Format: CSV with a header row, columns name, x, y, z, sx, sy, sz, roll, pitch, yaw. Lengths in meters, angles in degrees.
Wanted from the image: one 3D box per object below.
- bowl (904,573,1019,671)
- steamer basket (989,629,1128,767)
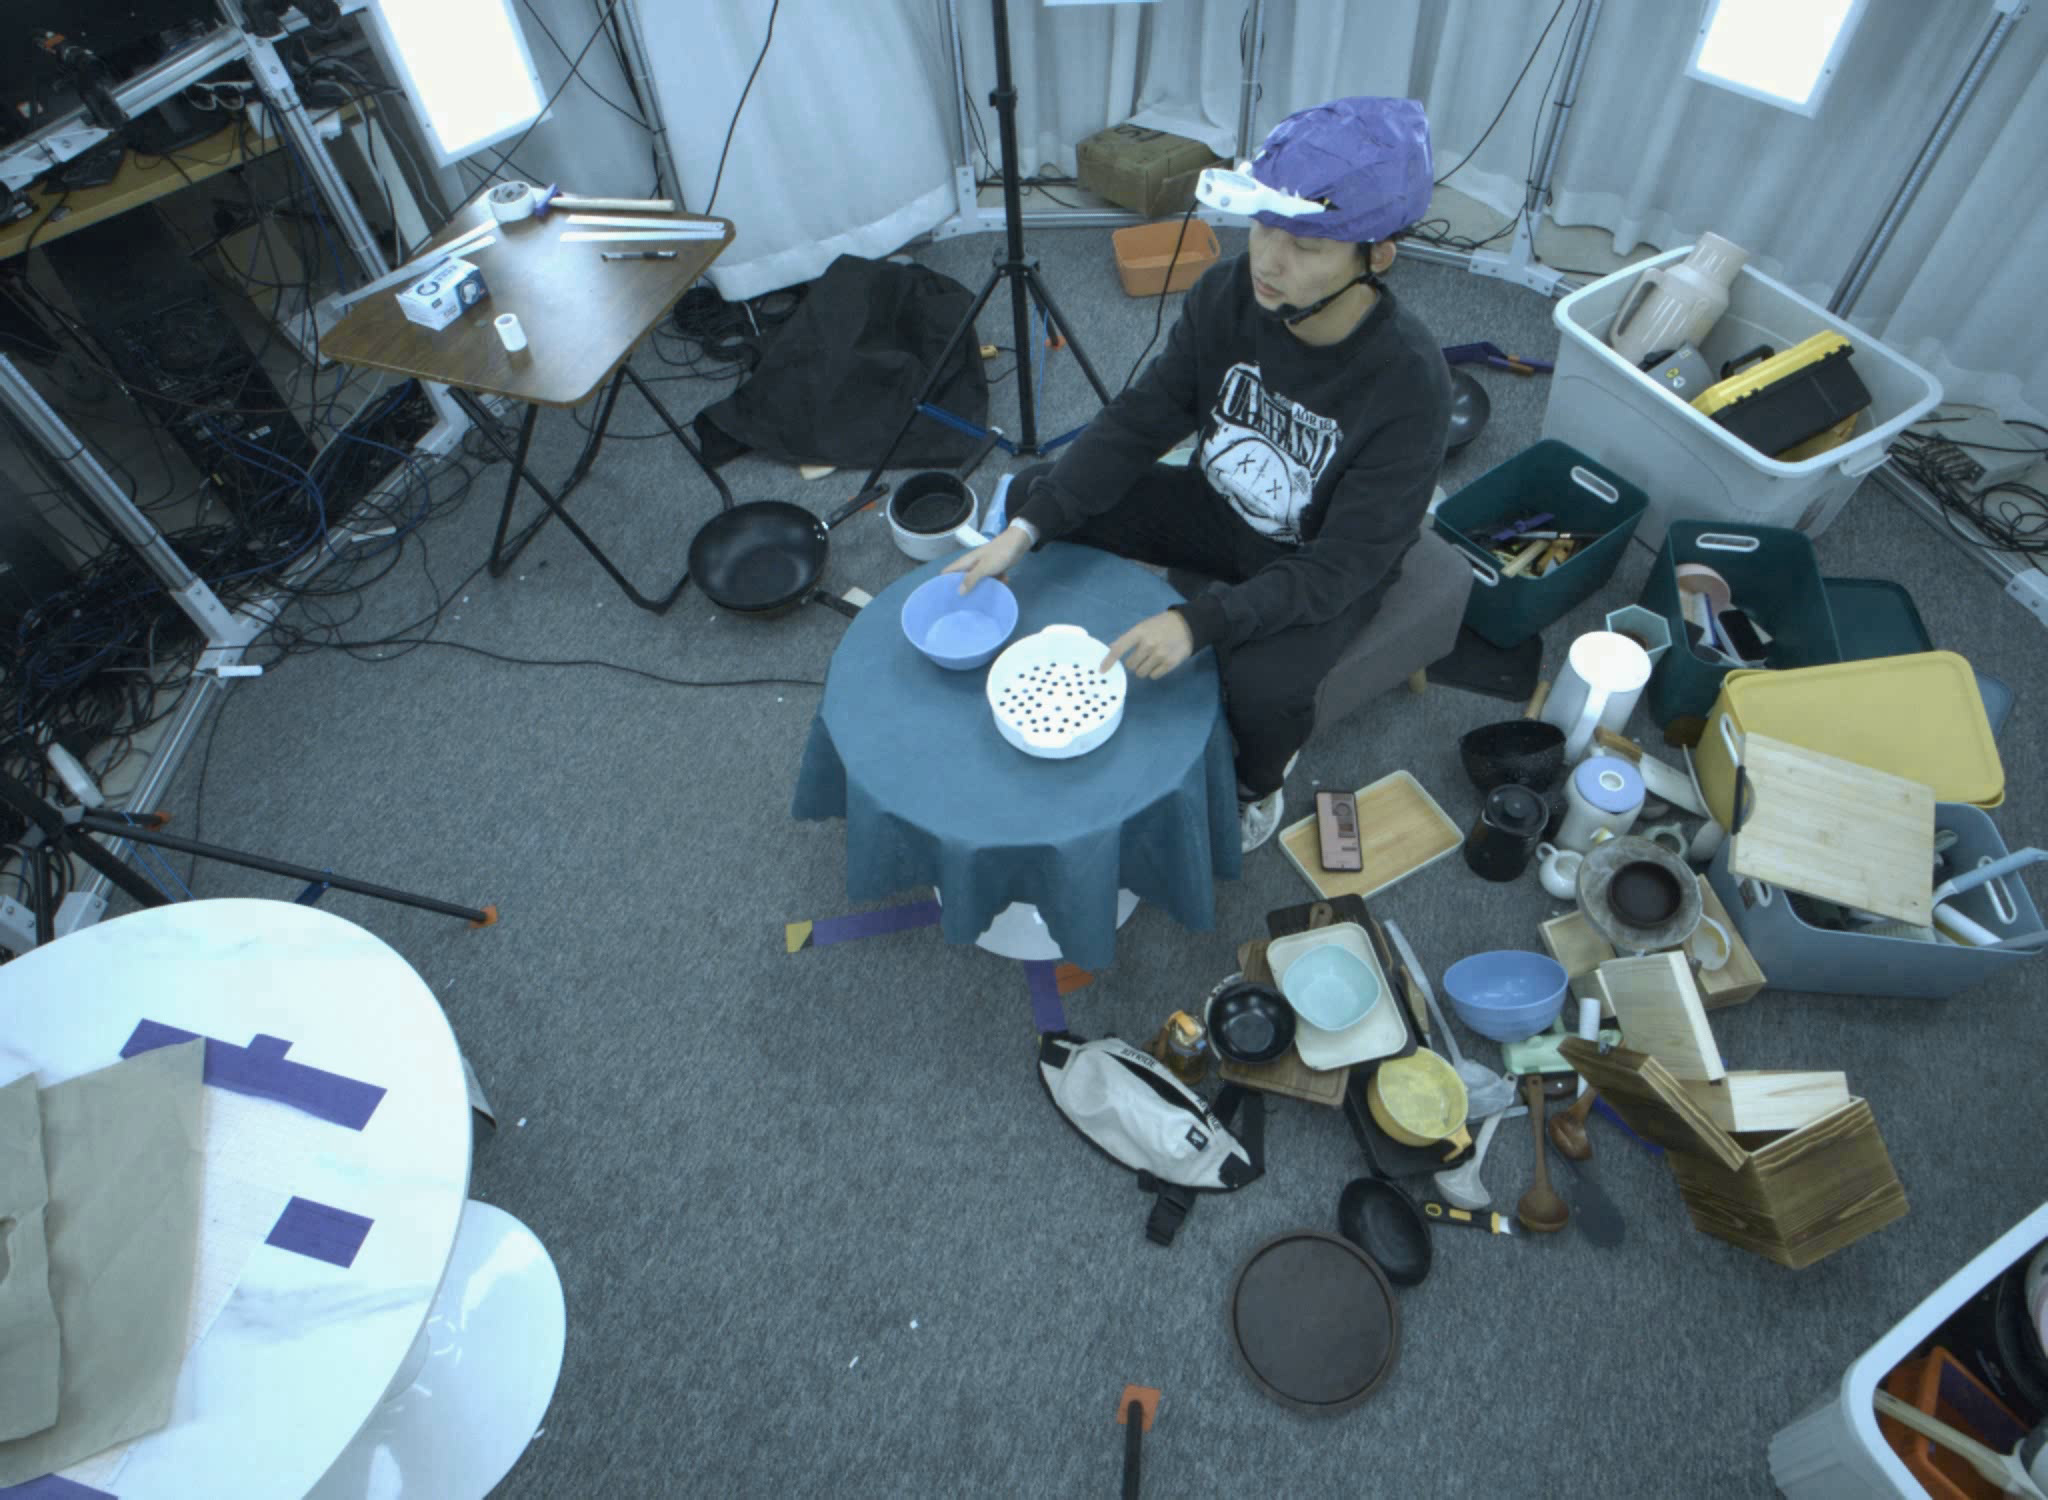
name,x,y,z,sx,sy,sz,roll,pitch,yaw
bowl,-0.094,-0.186,1.887,0.176,0.071,0.174,-1,55,3
steamer basket,0.052,-0.071,1.804,0.201,0.070,0.229,5,57,5
